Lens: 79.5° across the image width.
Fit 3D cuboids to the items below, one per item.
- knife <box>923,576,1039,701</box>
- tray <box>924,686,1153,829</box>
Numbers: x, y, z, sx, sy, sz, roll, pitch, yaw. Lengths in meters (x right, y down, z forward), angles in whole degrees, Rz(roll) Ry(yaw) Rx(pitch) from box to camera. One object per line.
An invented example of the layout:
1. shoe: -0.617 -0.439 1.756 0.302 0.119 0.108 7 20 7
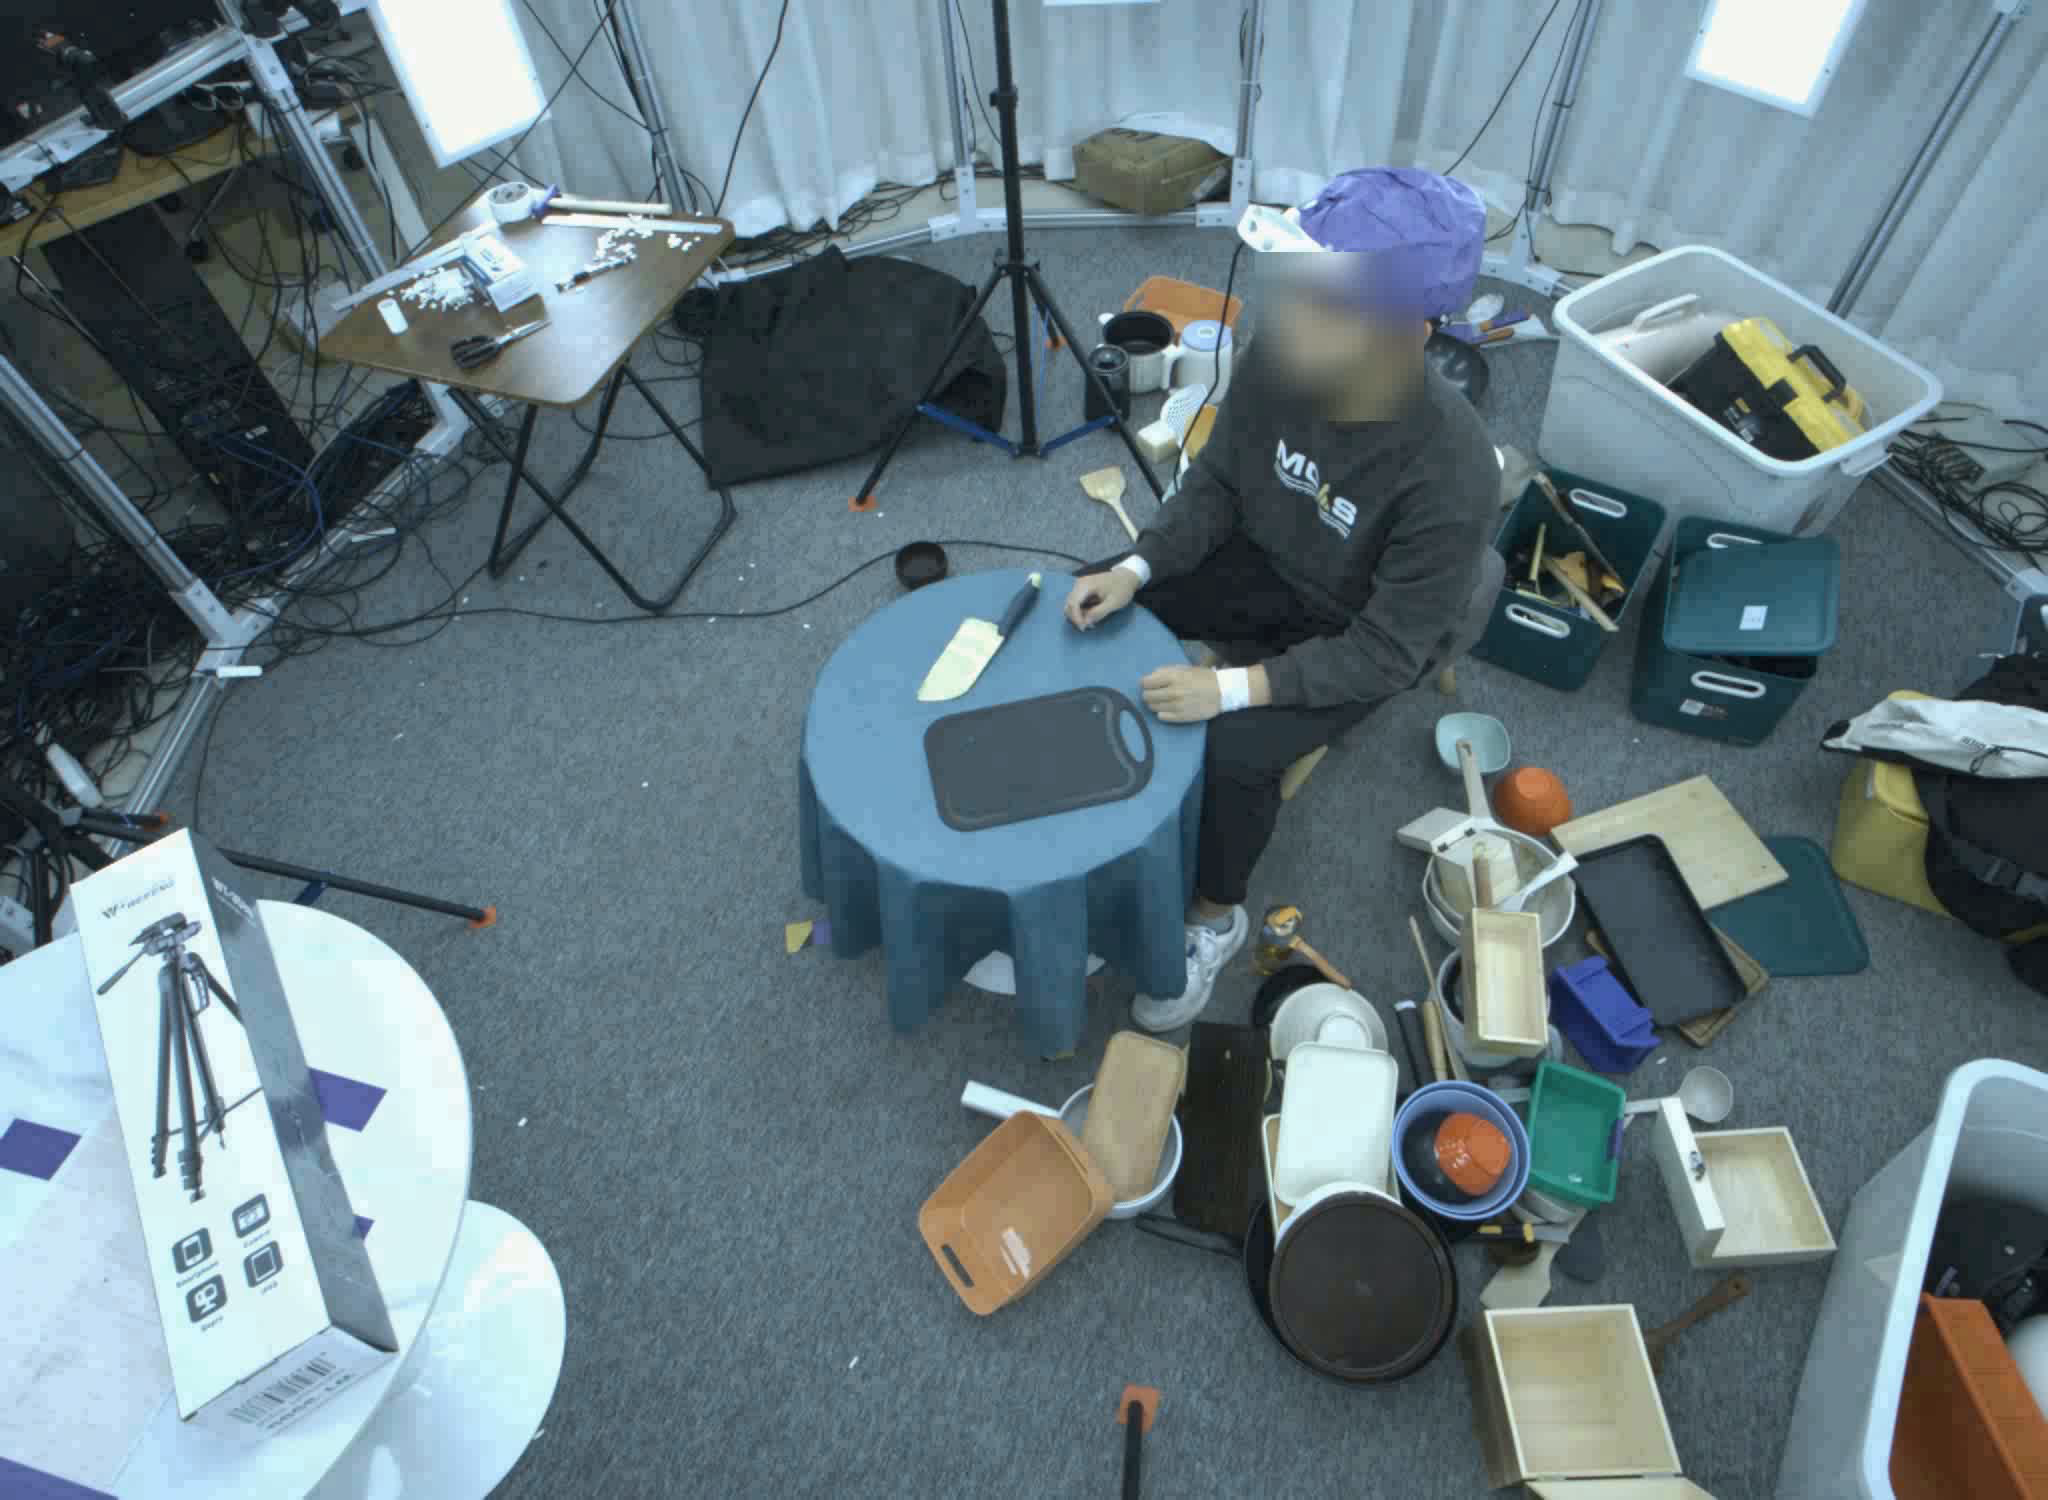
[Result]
1. knife: -0.066 -0.177 1.915 0.080 0.027 0.290 27 60 18
2. tray: 0.024 0.003 1.787 0.327 0.010 0.208 -11 55 -7
